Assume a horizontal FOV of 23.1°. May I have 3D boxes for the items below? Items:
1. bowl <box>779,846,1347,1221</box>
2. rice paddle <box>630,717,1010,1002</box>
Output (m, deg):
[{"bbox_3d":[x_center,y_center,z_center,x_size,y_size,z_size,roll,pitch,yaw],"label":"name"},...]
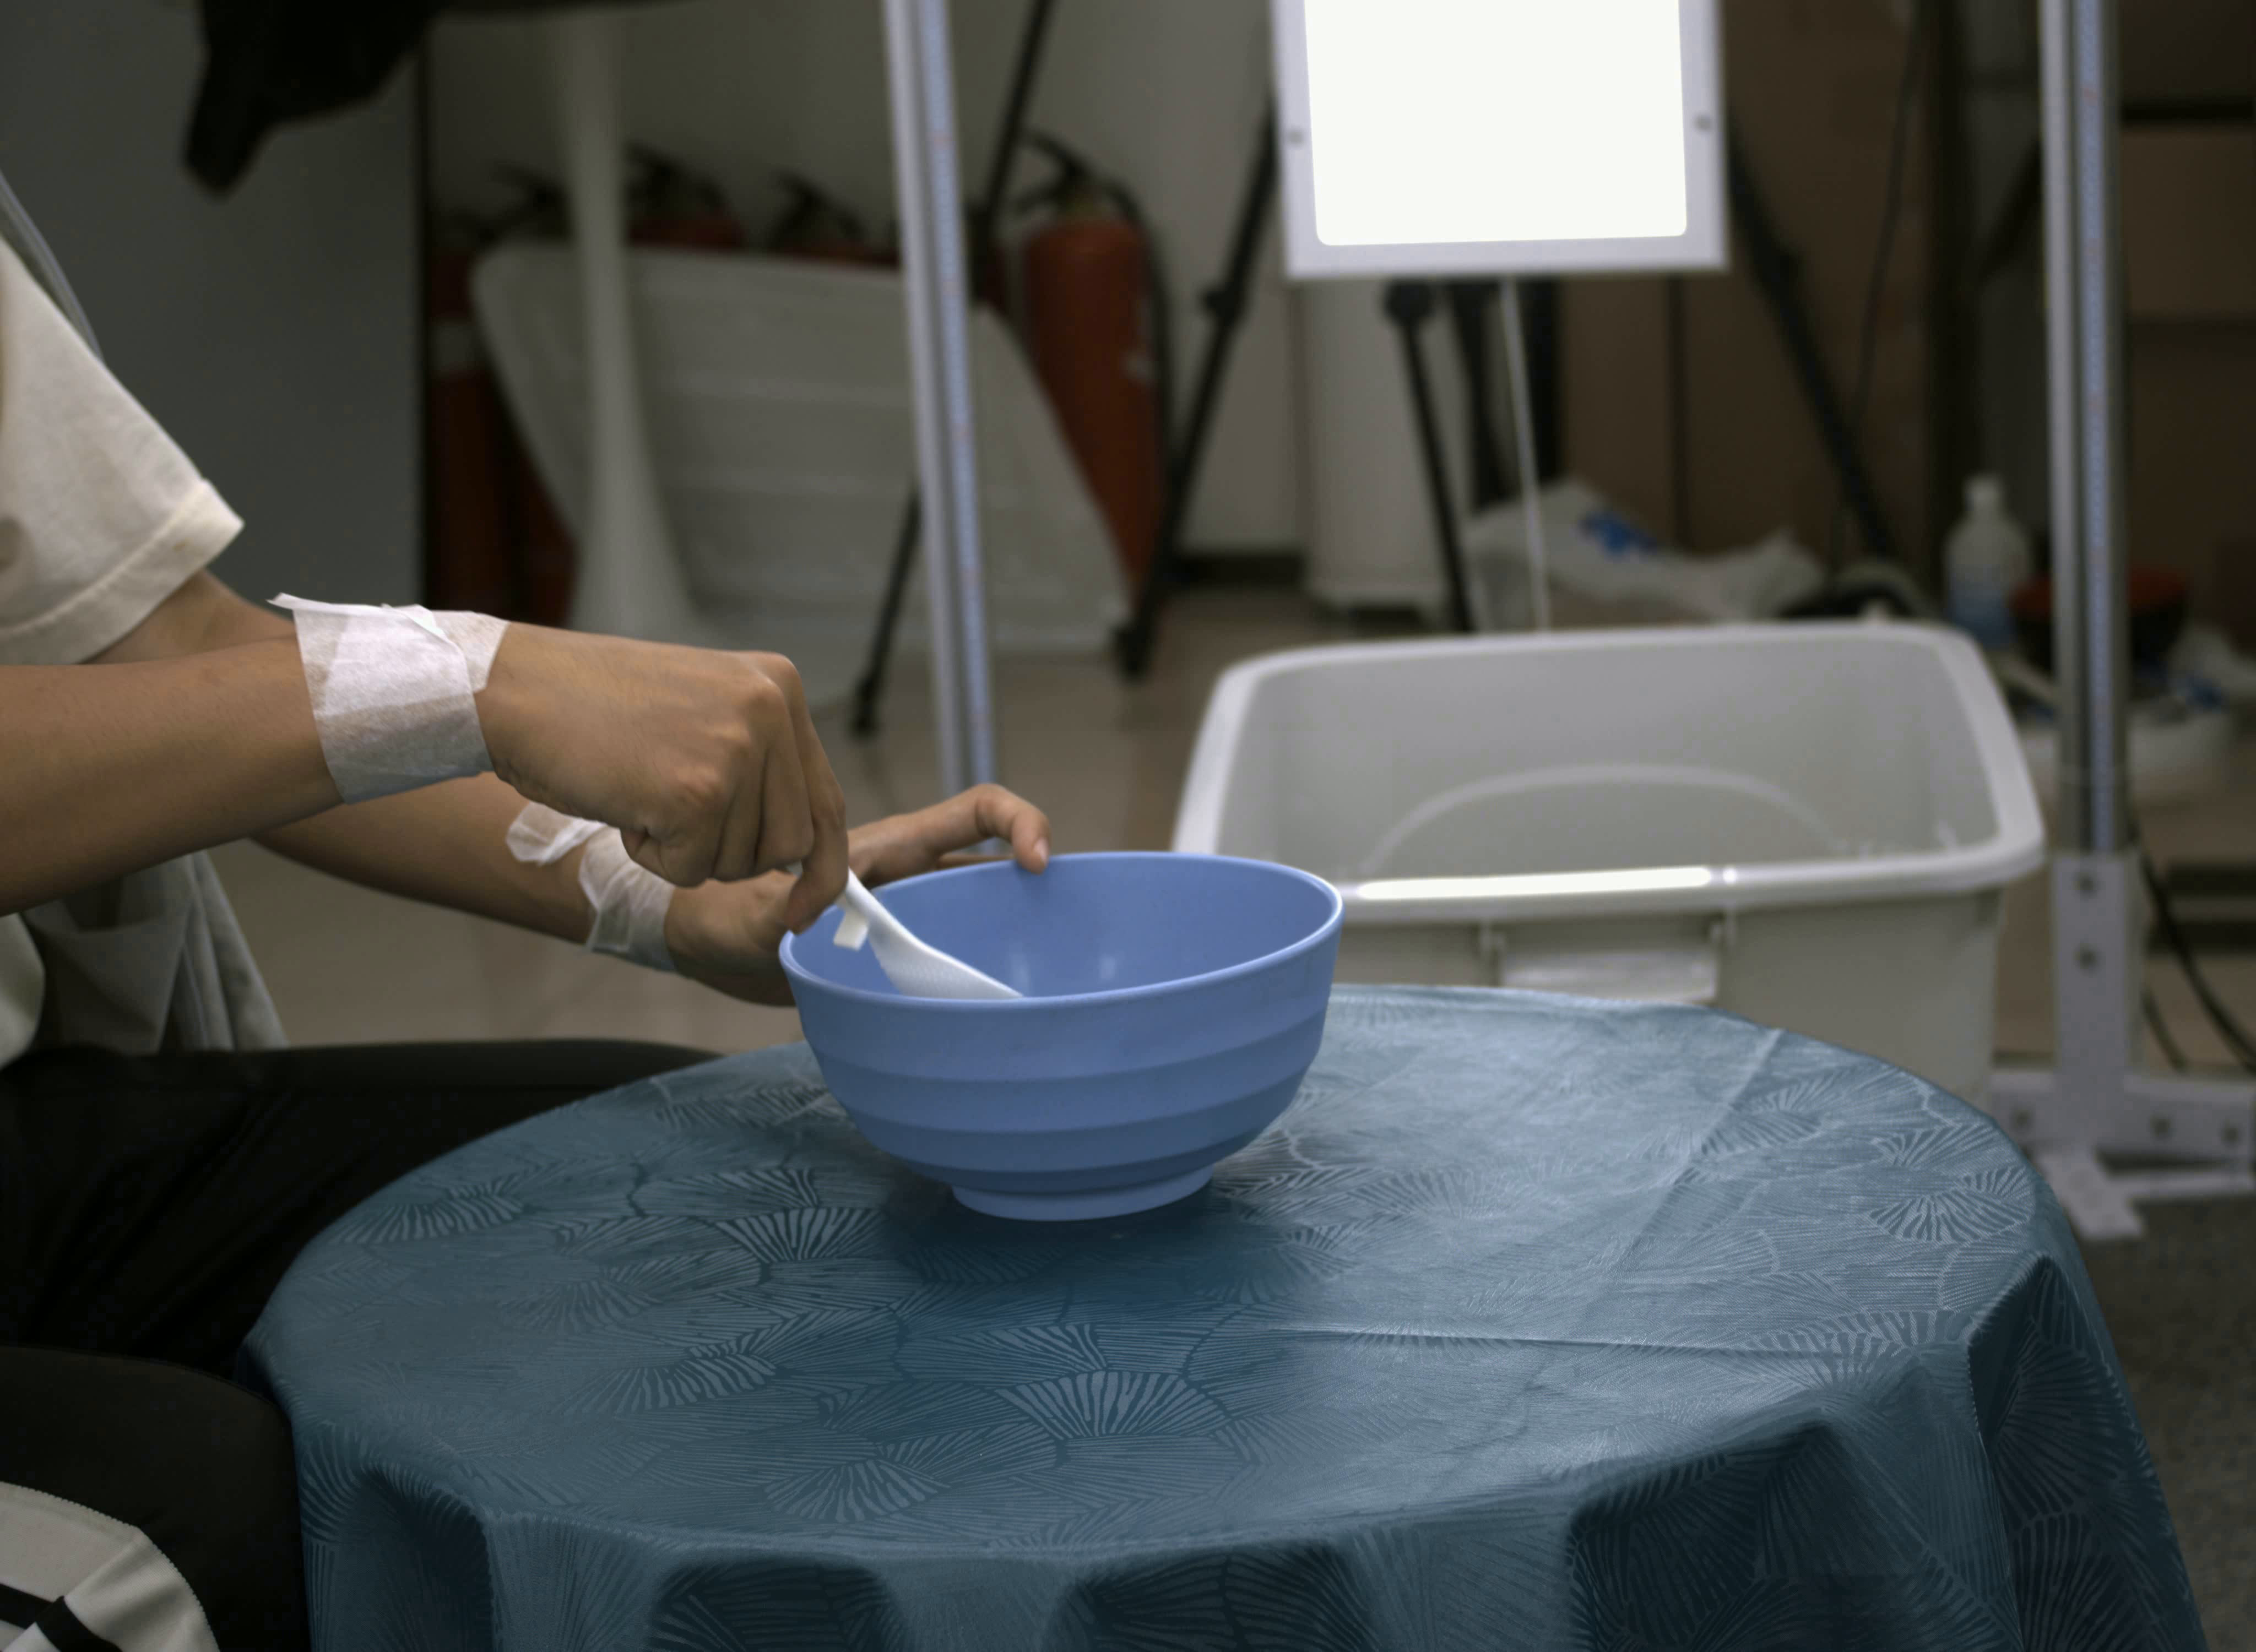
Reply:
[{"bbox_3d":[-0.020,0.077,1.903,0.196,0.096,0.196,-4,14,0],"label":"bowl"},{"bbox_3d":[-0.087,0.028,1.837,0.070,0.029,0.202,10,-23,50],"label":"rice paddle"}]
